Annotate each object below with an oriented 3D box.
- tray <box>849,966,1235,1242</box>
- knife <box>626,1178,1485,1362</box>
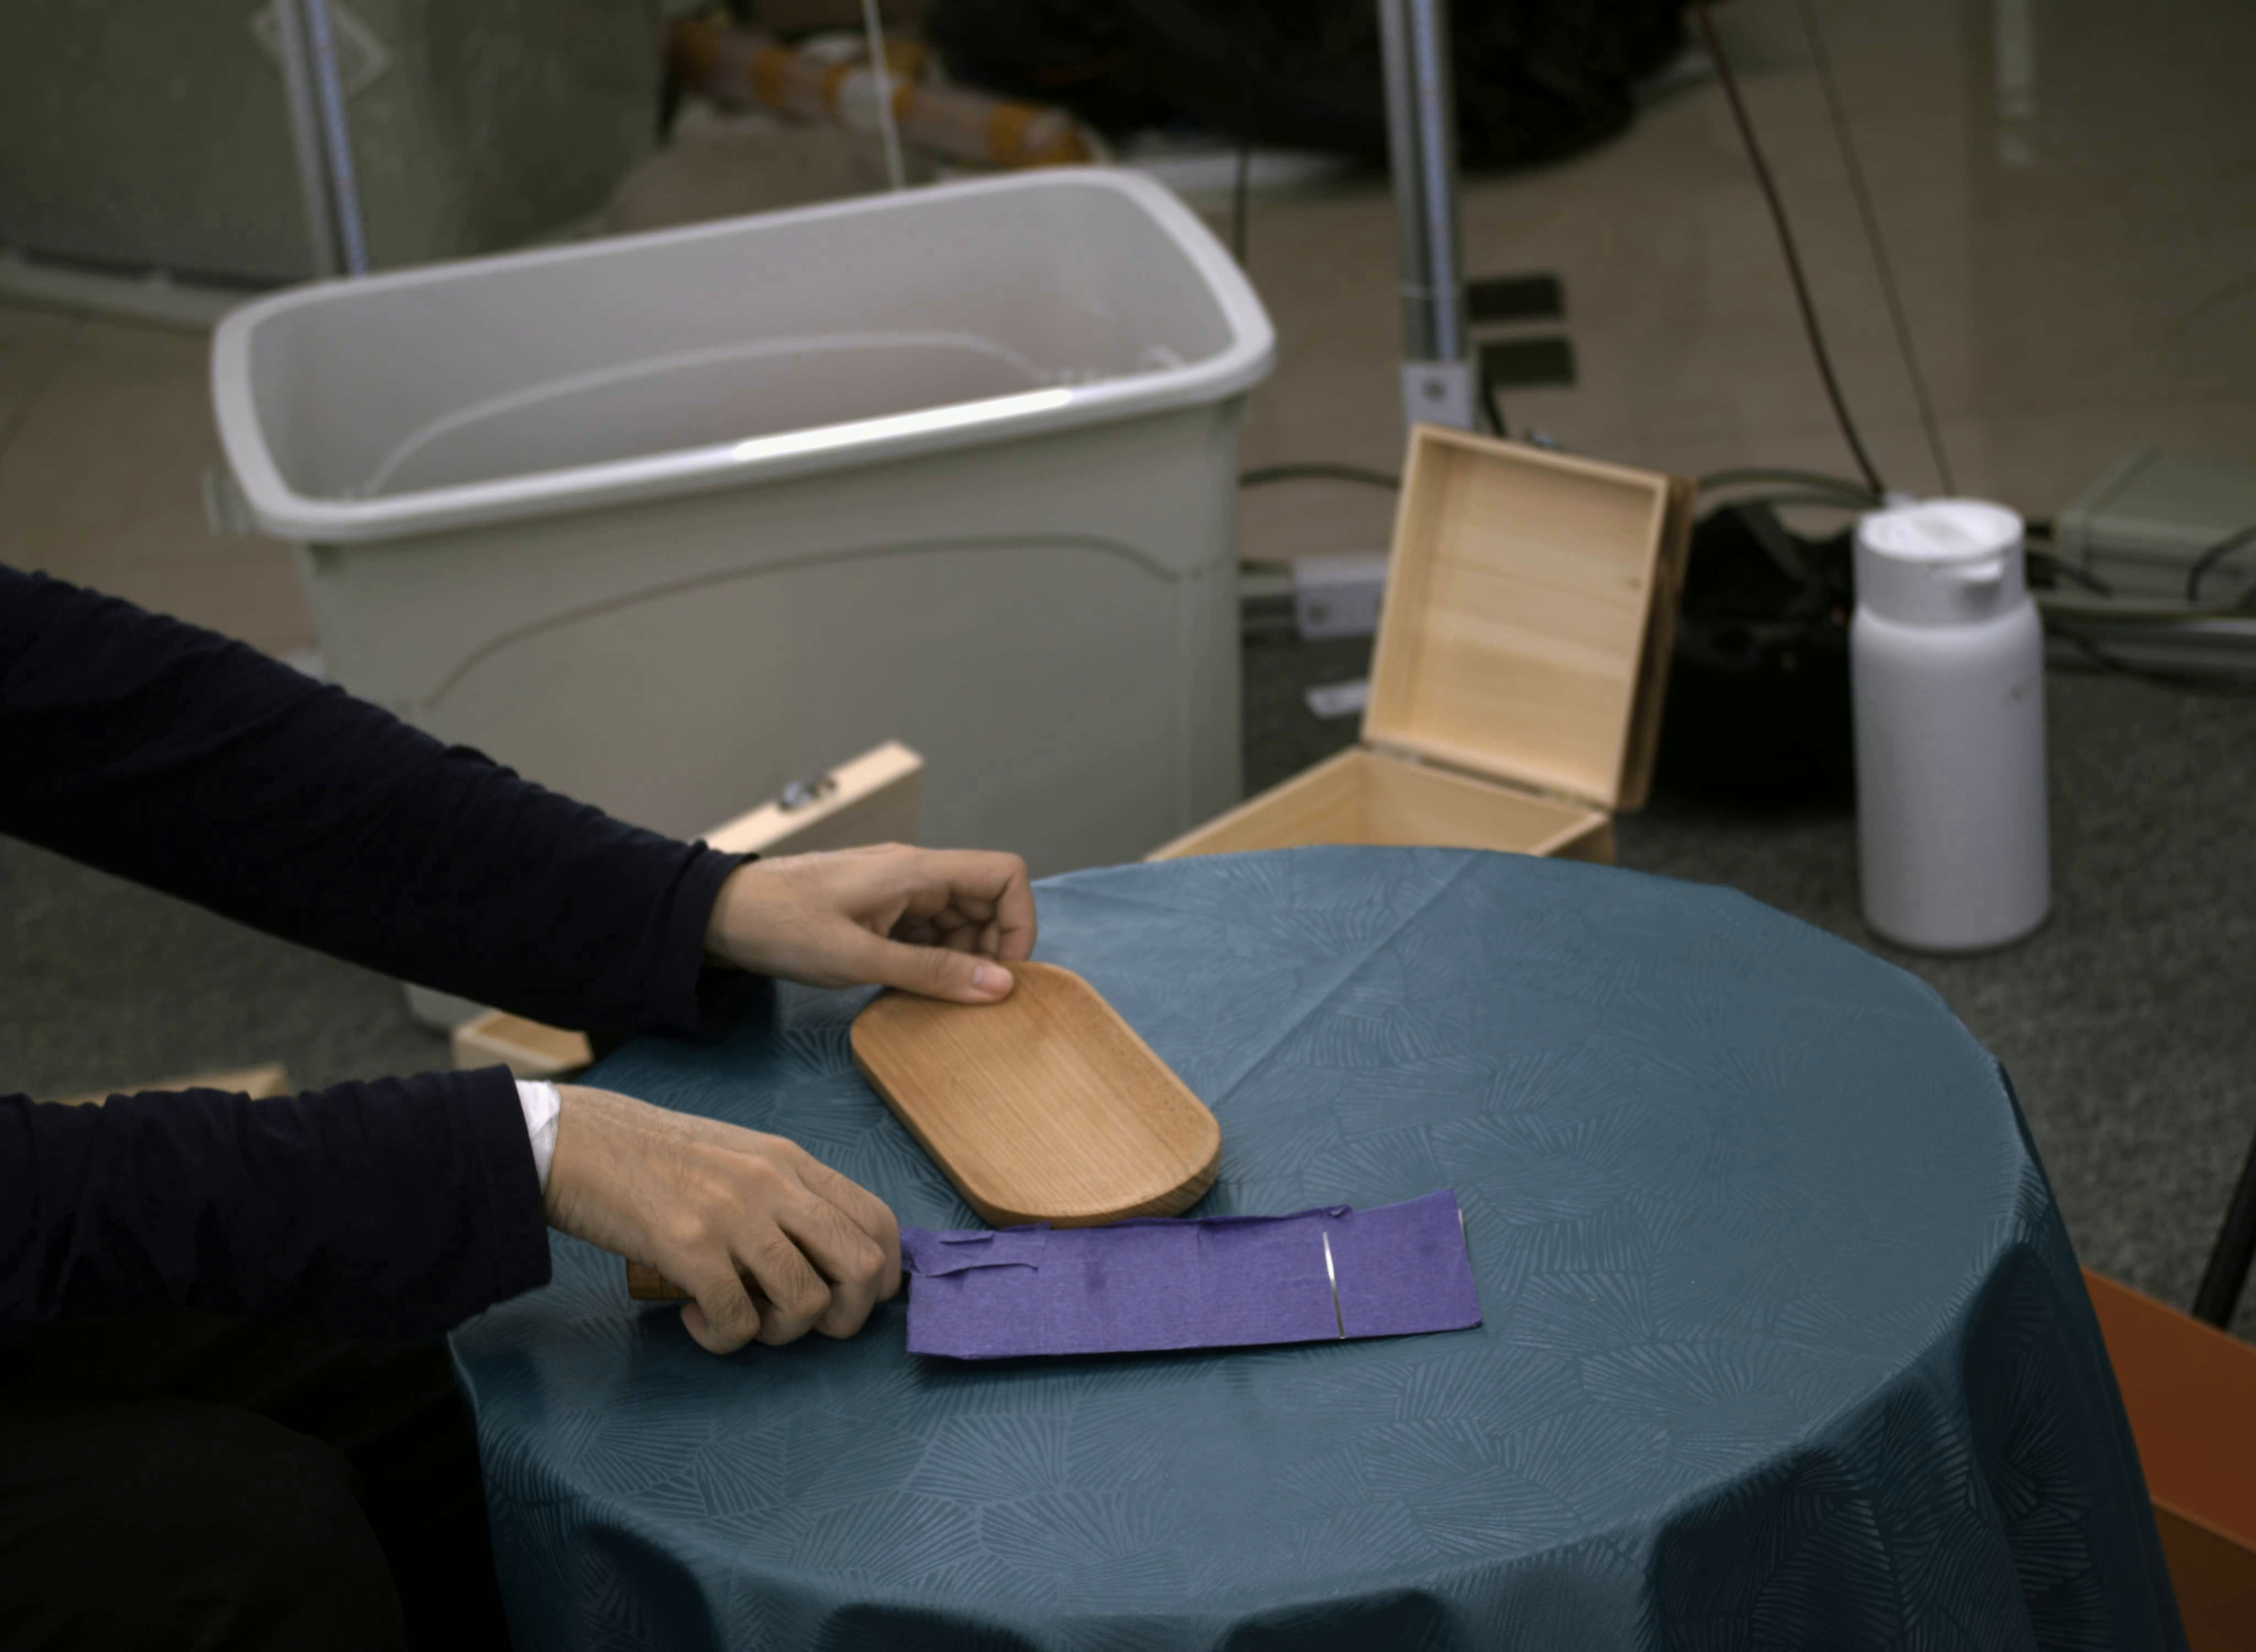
[{"bbox_3d":[-0.035,0.108,2.208,0.101,0.020,0.228,-18,29,-18],"label":"tray"},{"bbox_3d":[-0.028,0.164,2.072,0.315,0.033,0.102,-6,25,1],"label":"knife"}]
